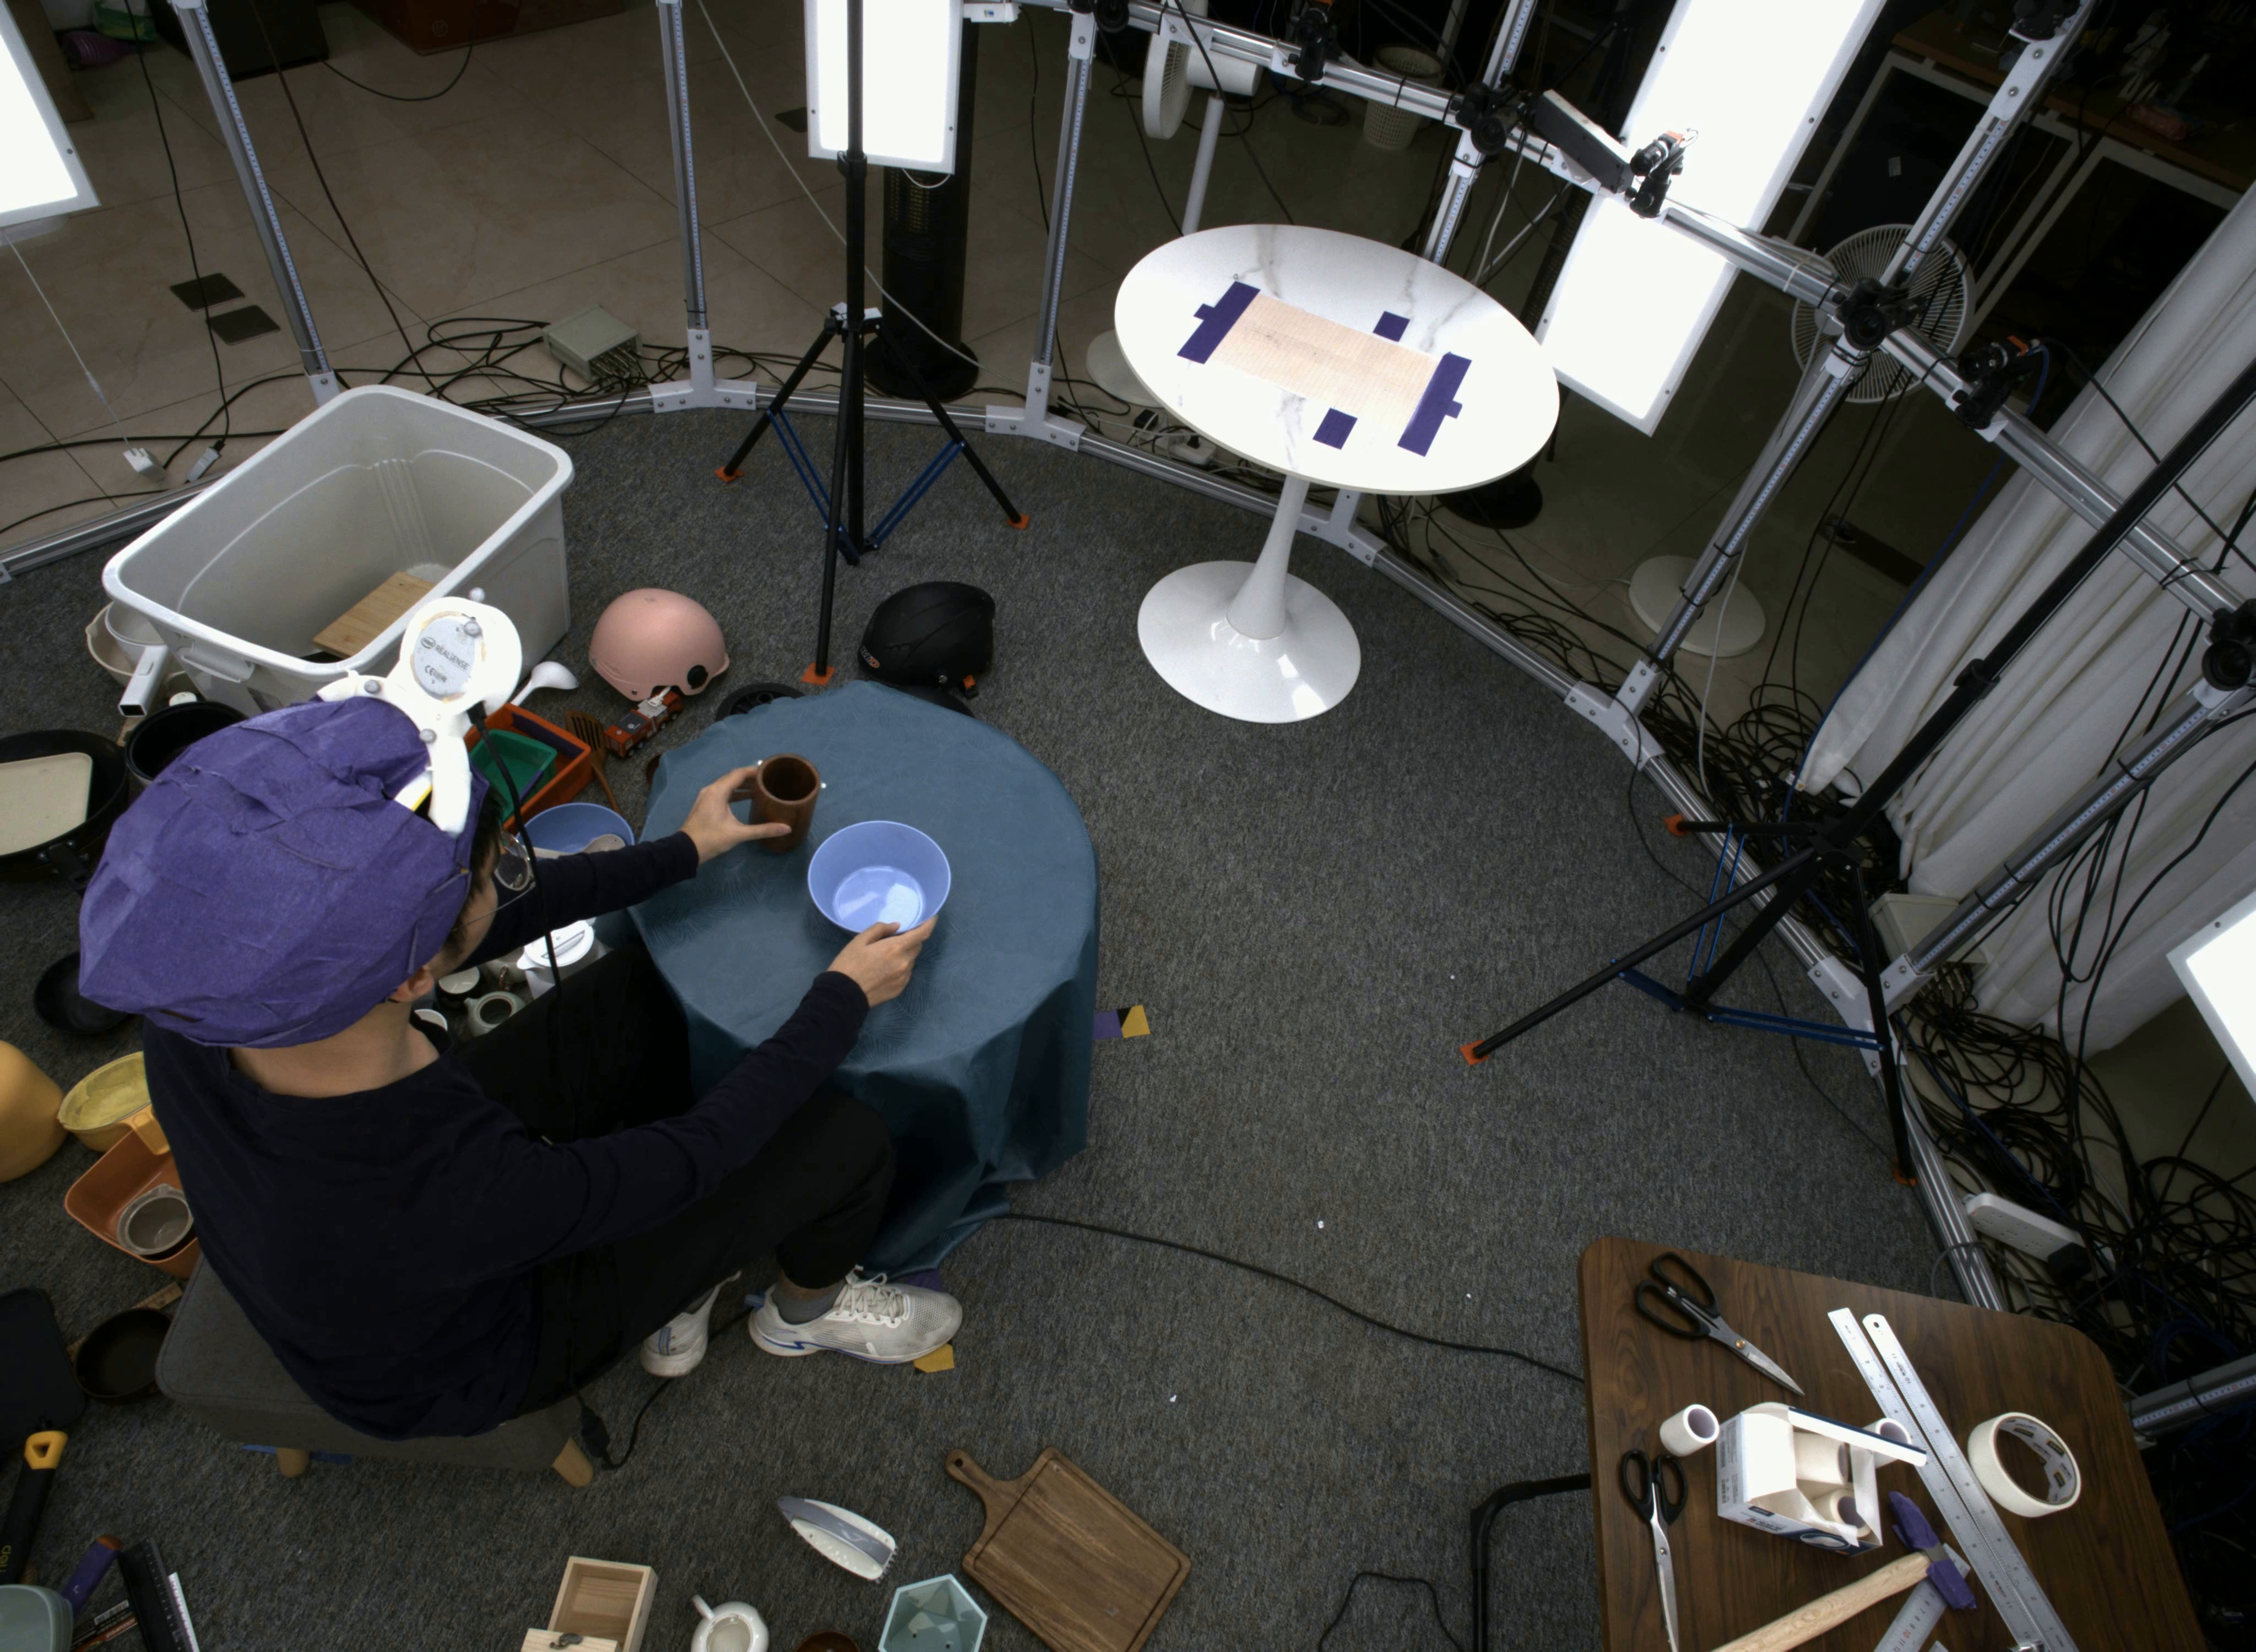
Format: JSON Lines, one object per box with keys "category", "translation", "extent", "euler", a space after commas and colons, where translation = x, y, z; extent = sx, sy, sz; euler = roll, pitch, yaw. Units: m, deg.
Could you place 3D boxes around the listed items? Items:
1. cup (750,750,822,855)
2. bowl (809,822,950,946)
{"category": "cup", "translation": [-0.436, -0.029, 1.647], "extent": [0.088, 0.120, 0.086], "euler": [10, 54, -13]}
{"category": "bowl", "translation": [-0.314, 0.083, 1.646], "extent": [0.175, 0.072, 0.173], "euler": [7, 53, -7]}
